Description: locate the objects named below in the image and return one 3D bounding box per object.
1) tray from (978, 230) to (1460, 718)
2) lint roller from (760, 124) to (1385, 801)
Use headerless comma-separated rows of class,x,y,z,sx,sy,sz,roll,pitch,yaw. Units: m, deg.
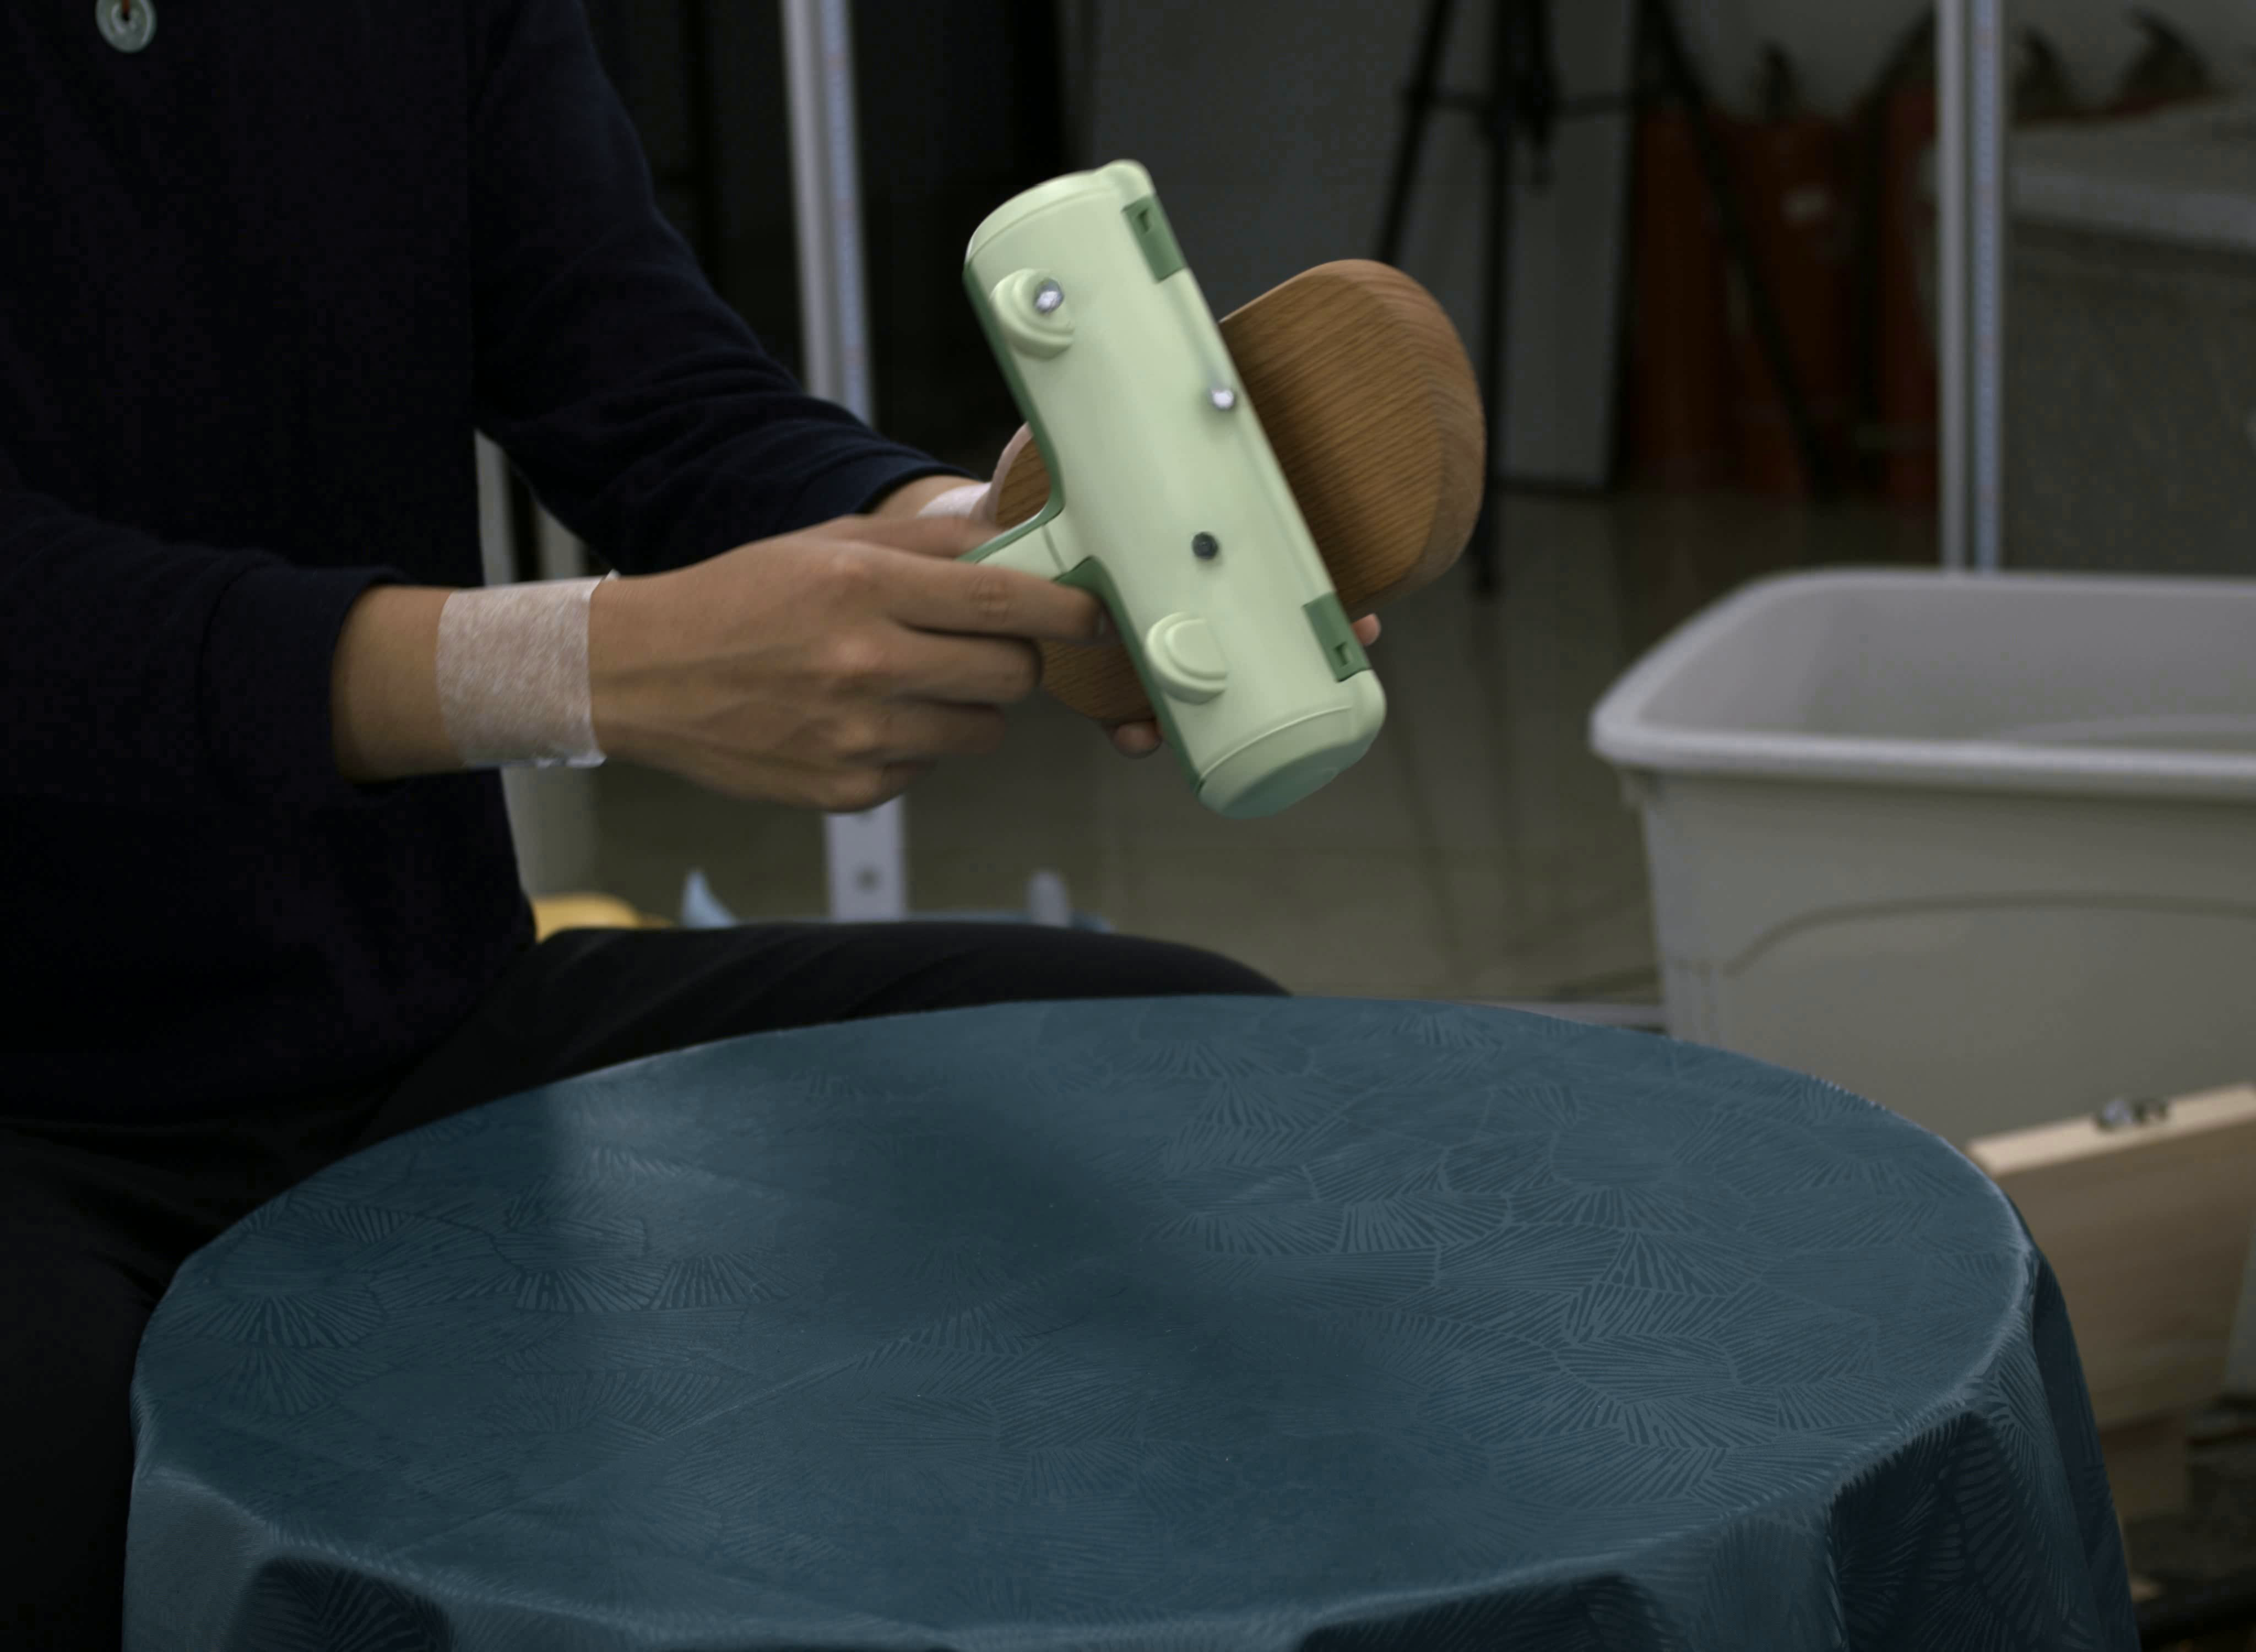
tray,0.023,-0.102,1.613,0.020,0.103,0.233,-10,-10,-37
lint roller,-0.040,-0.080,1.576,0.183,0.201,0.081,-28,-17,13
